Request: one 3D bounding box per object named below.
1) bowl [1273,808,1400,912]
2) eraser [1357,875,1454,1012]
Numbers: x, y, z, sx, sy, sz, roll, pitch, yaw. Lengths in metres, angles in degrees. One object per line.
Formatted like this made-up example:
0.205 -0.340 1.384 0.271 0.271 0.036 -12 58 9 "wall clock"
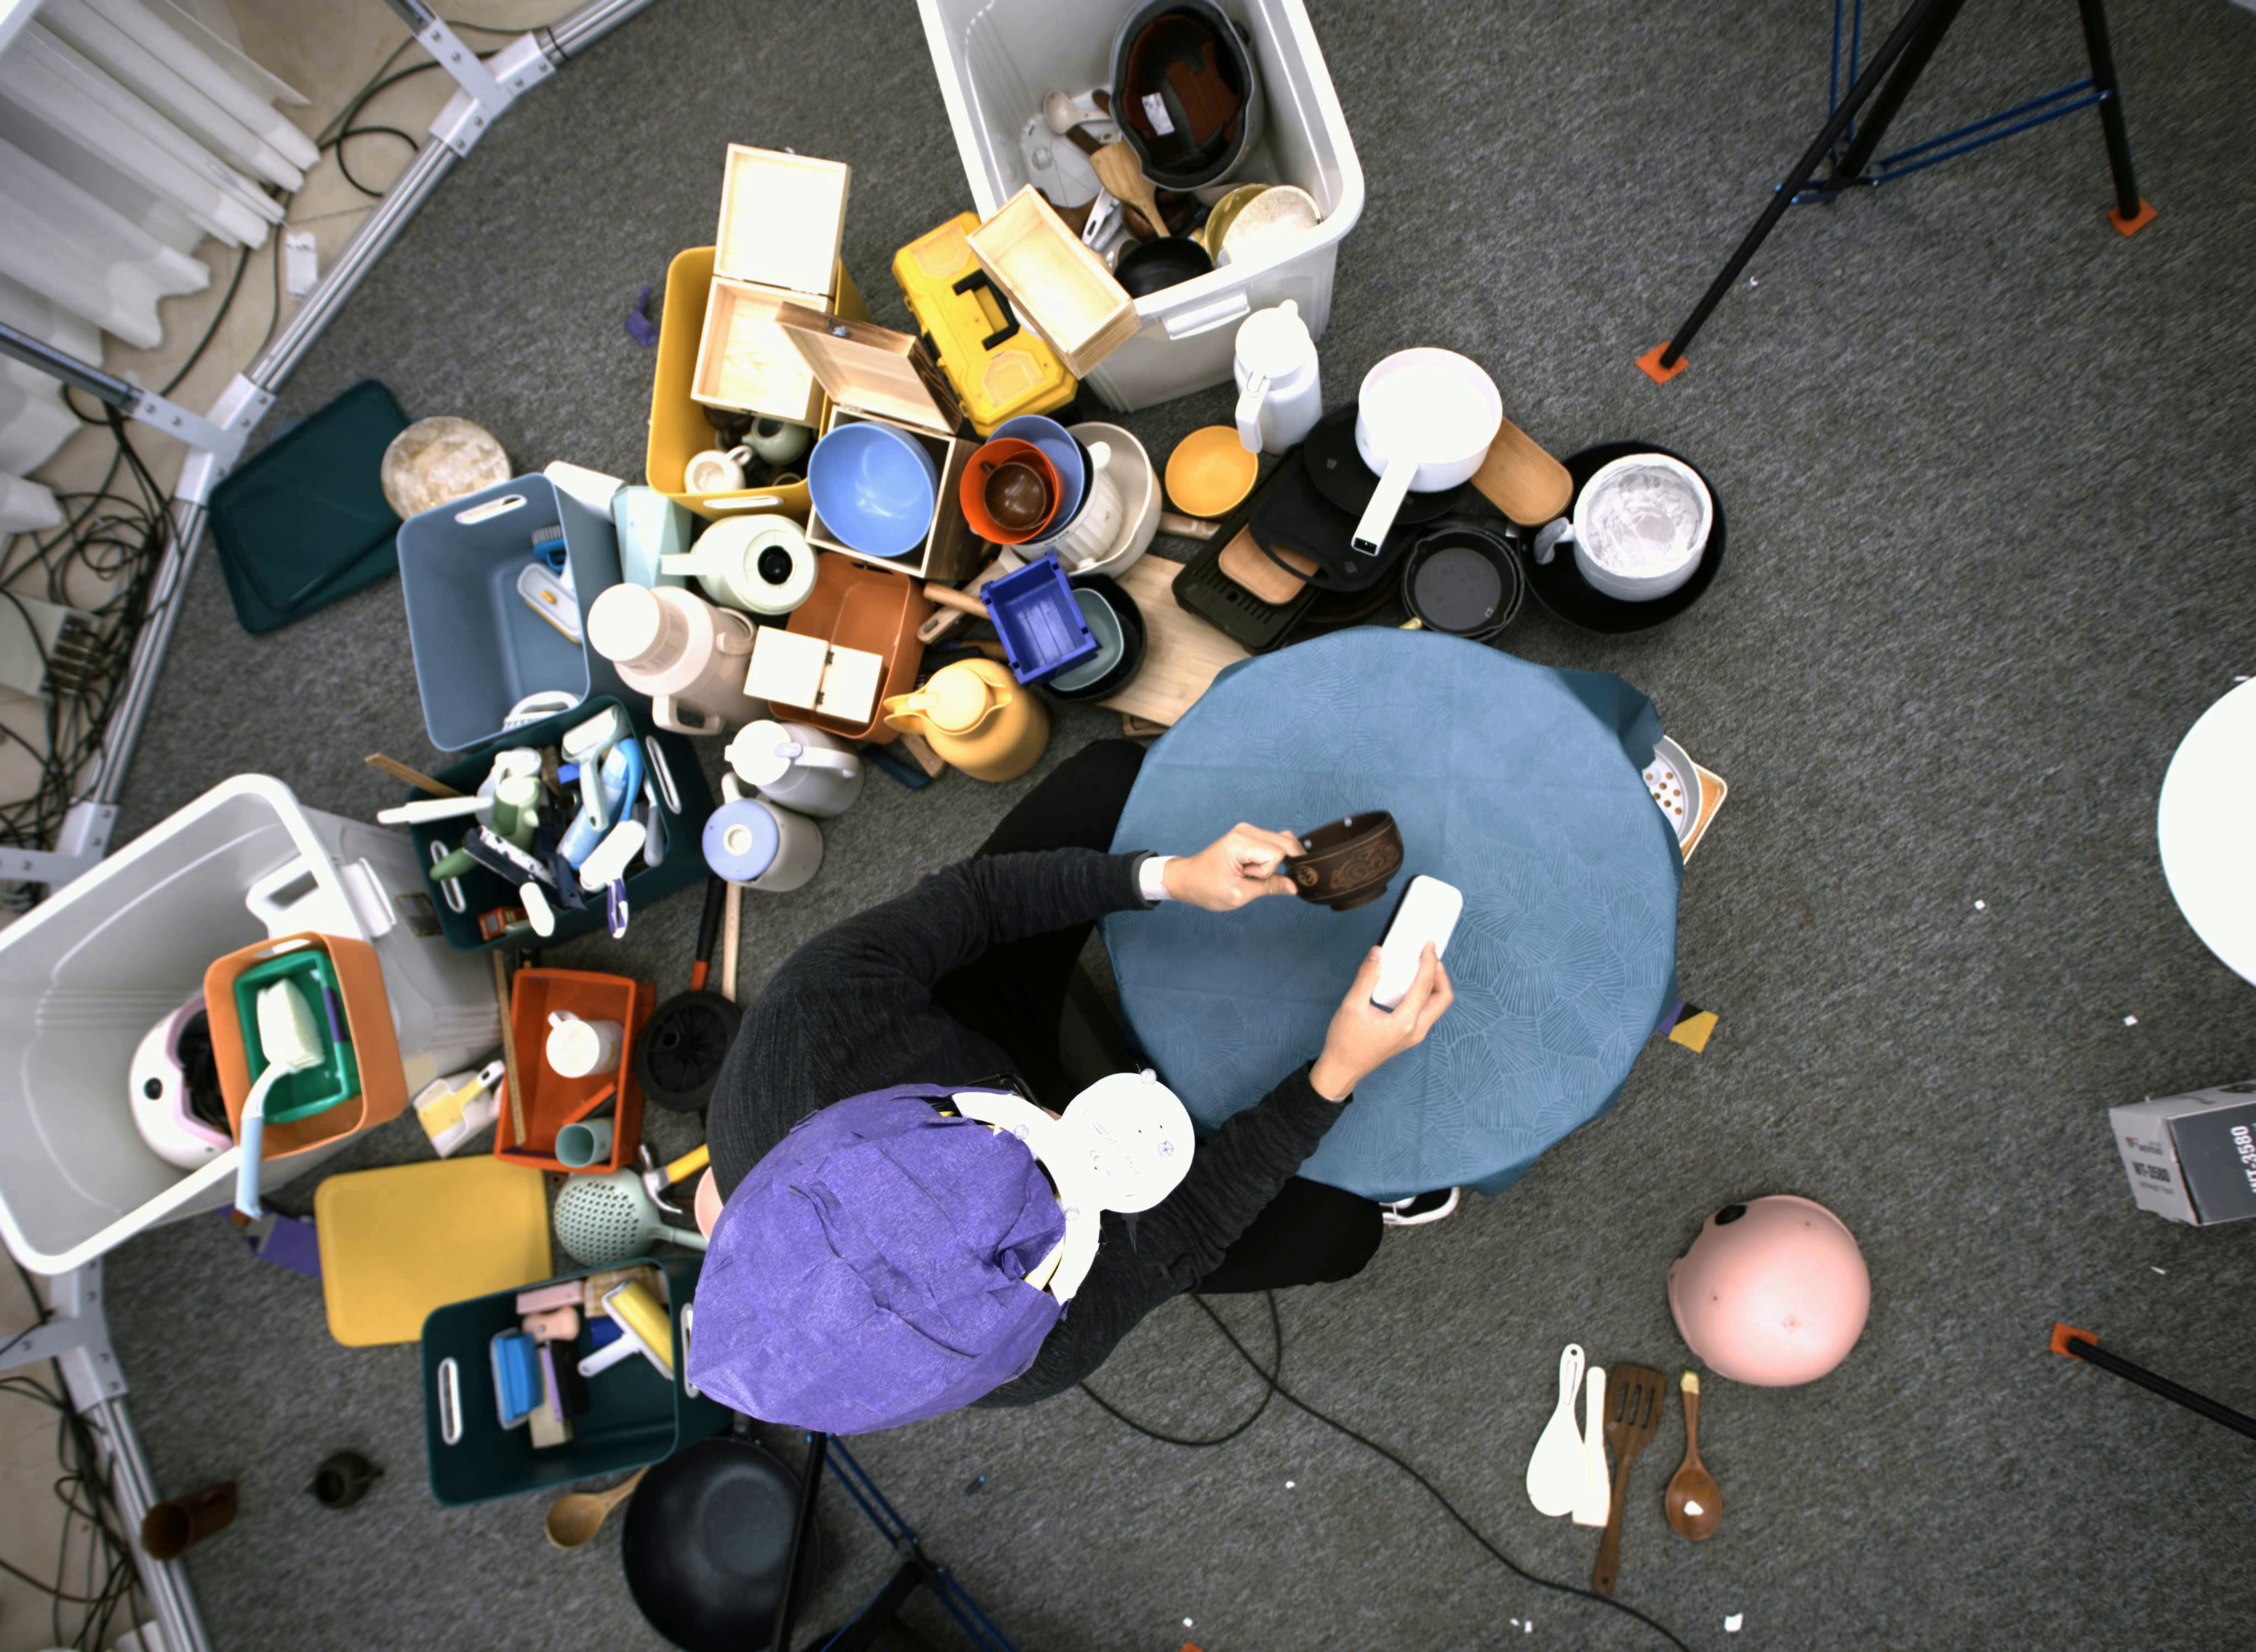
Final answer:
0.203 0.038 1.311 0.118 0.116 0.070 -24 102 7 "bowl"
0.266 0.111 1.324 0.034 0.063 0.131 27 95 51 "eraser"
